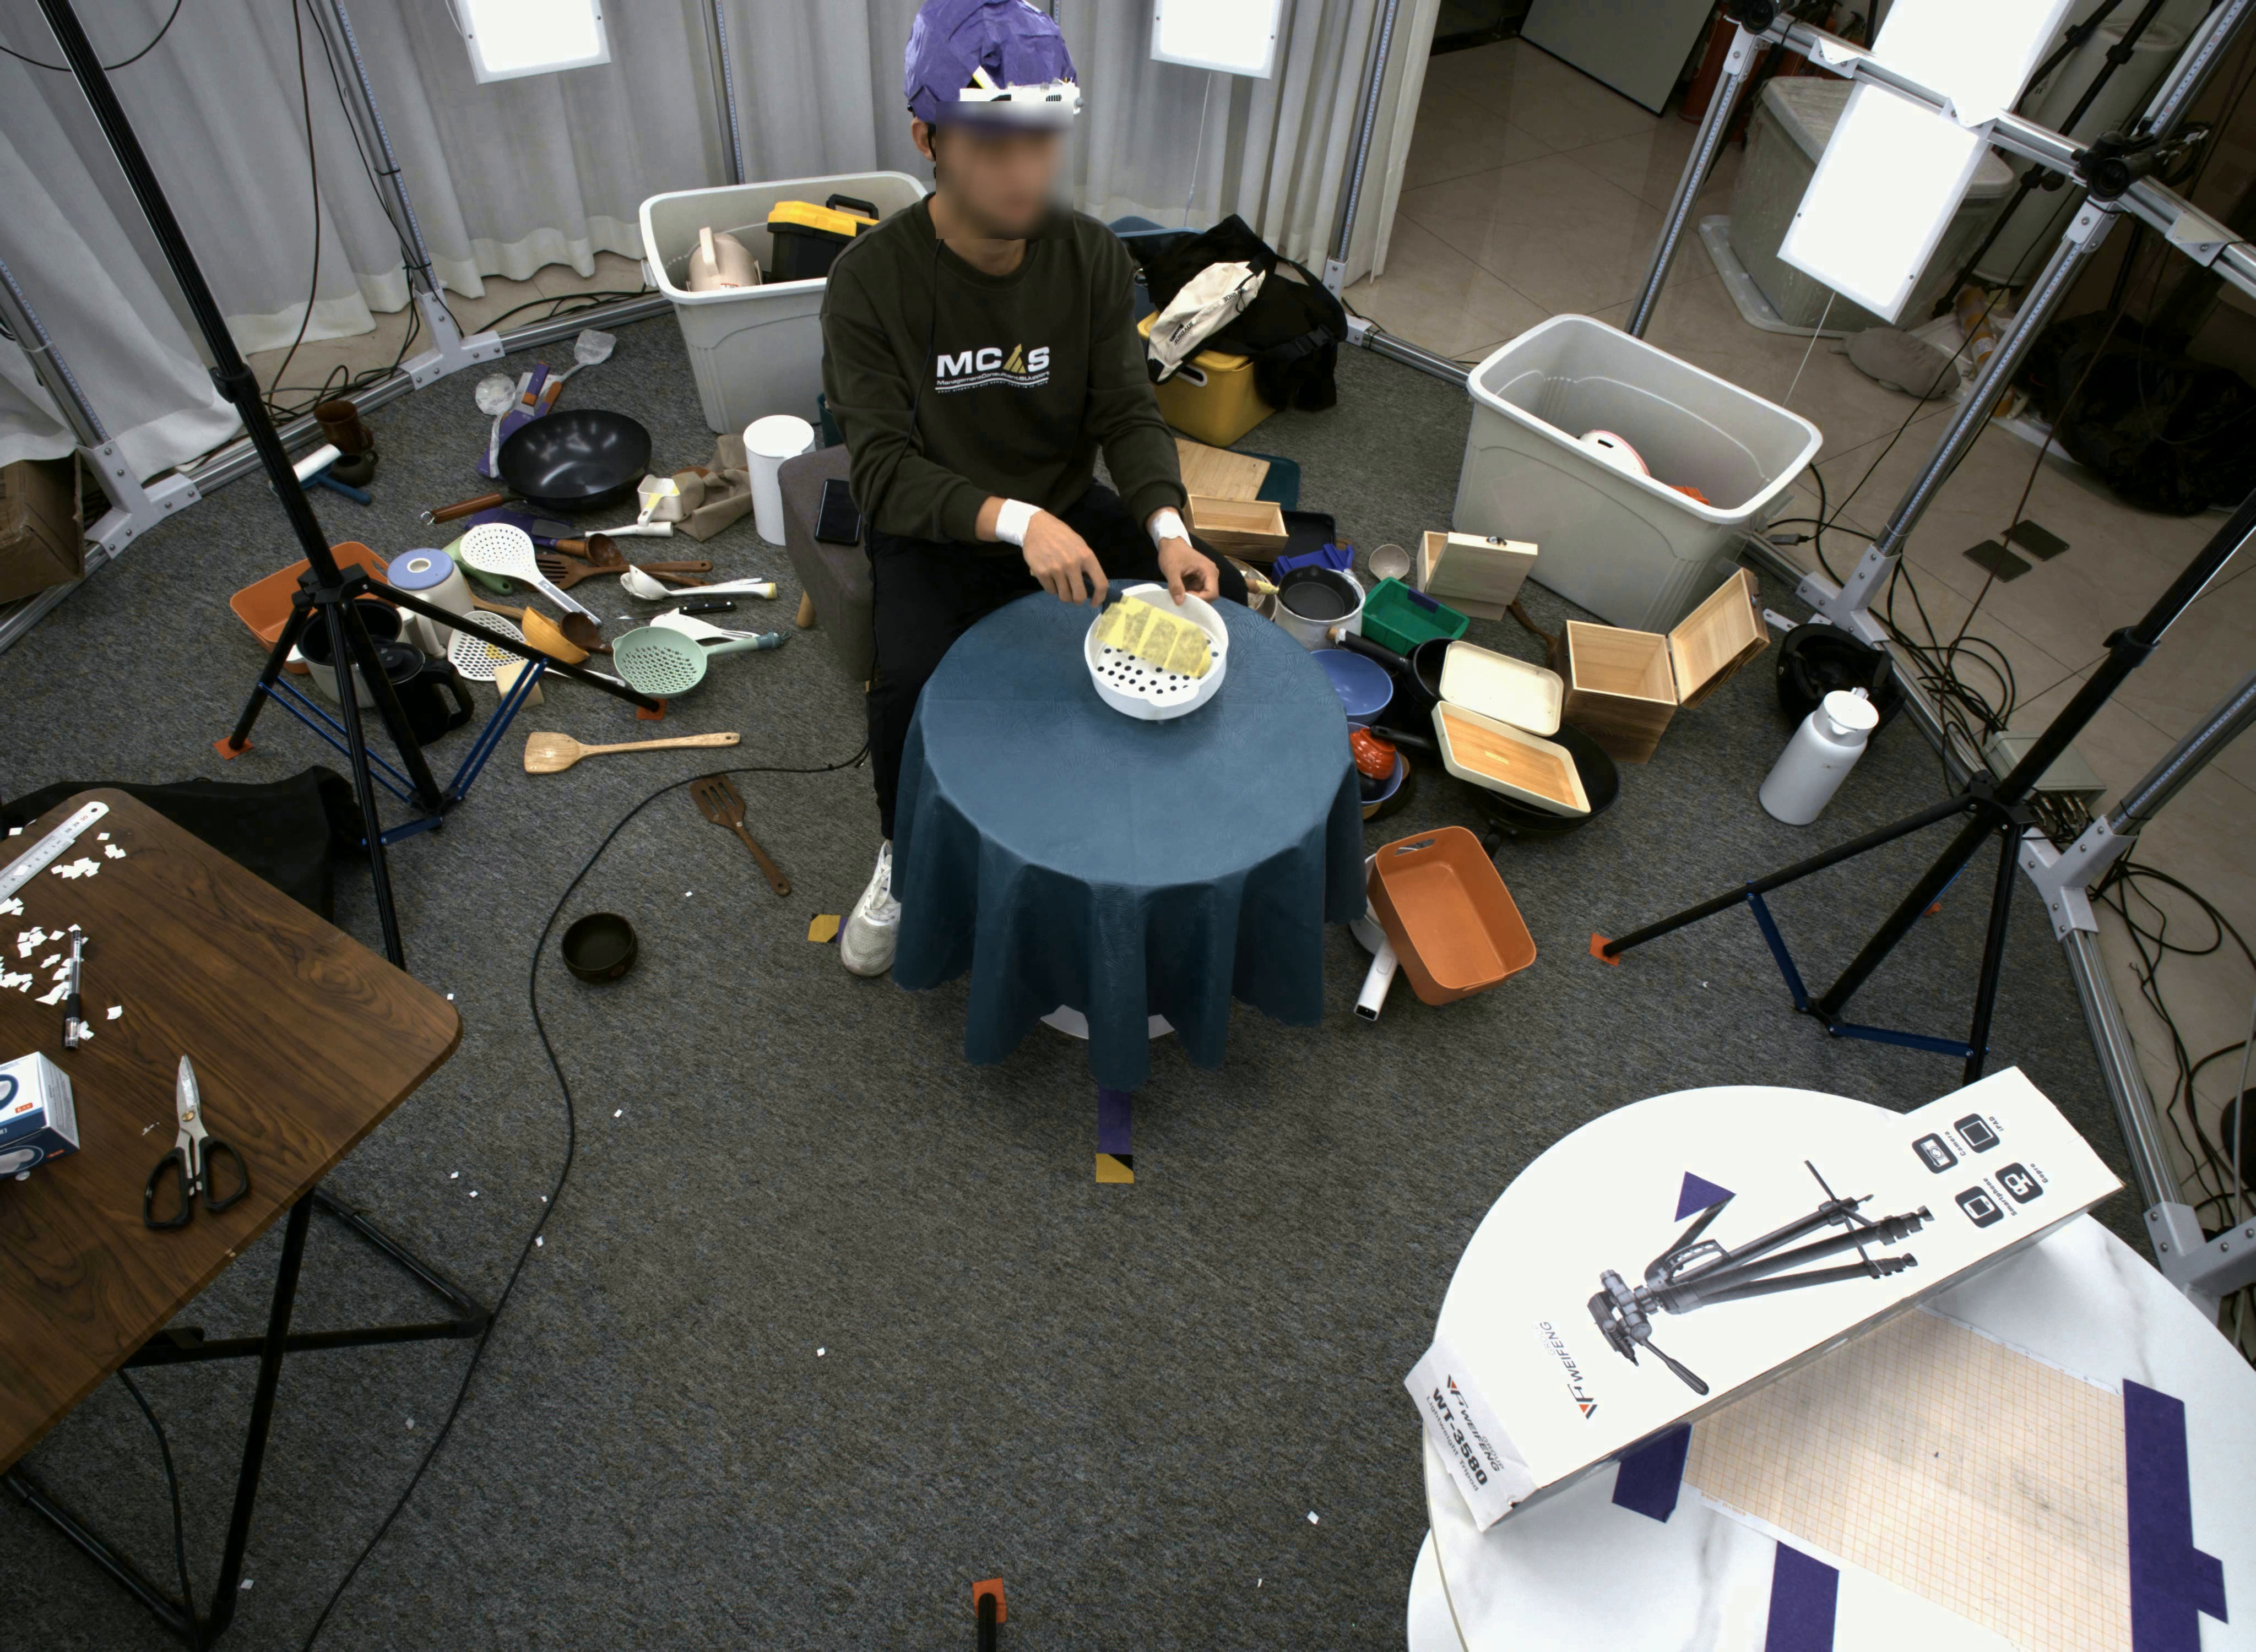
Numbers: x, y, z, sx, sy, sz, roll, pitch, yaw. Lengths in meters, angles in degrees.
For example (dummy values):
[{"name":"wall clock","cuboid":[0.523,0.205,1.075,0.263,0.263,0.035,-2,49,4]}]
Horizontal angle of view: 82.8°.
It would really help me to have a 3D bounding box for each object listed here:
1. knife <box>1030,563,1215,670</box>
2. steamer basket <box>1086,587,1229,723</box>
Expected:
[{"name":"knife","cuboid":[-0.009,-0.293,1.801,0.288,0.081,0.027,24,4,-7]},{"name":"steamer basket","cuboid":[0.043,-0.237,1.817,0.202,0.067,0.236,-14,54,-3]}]
